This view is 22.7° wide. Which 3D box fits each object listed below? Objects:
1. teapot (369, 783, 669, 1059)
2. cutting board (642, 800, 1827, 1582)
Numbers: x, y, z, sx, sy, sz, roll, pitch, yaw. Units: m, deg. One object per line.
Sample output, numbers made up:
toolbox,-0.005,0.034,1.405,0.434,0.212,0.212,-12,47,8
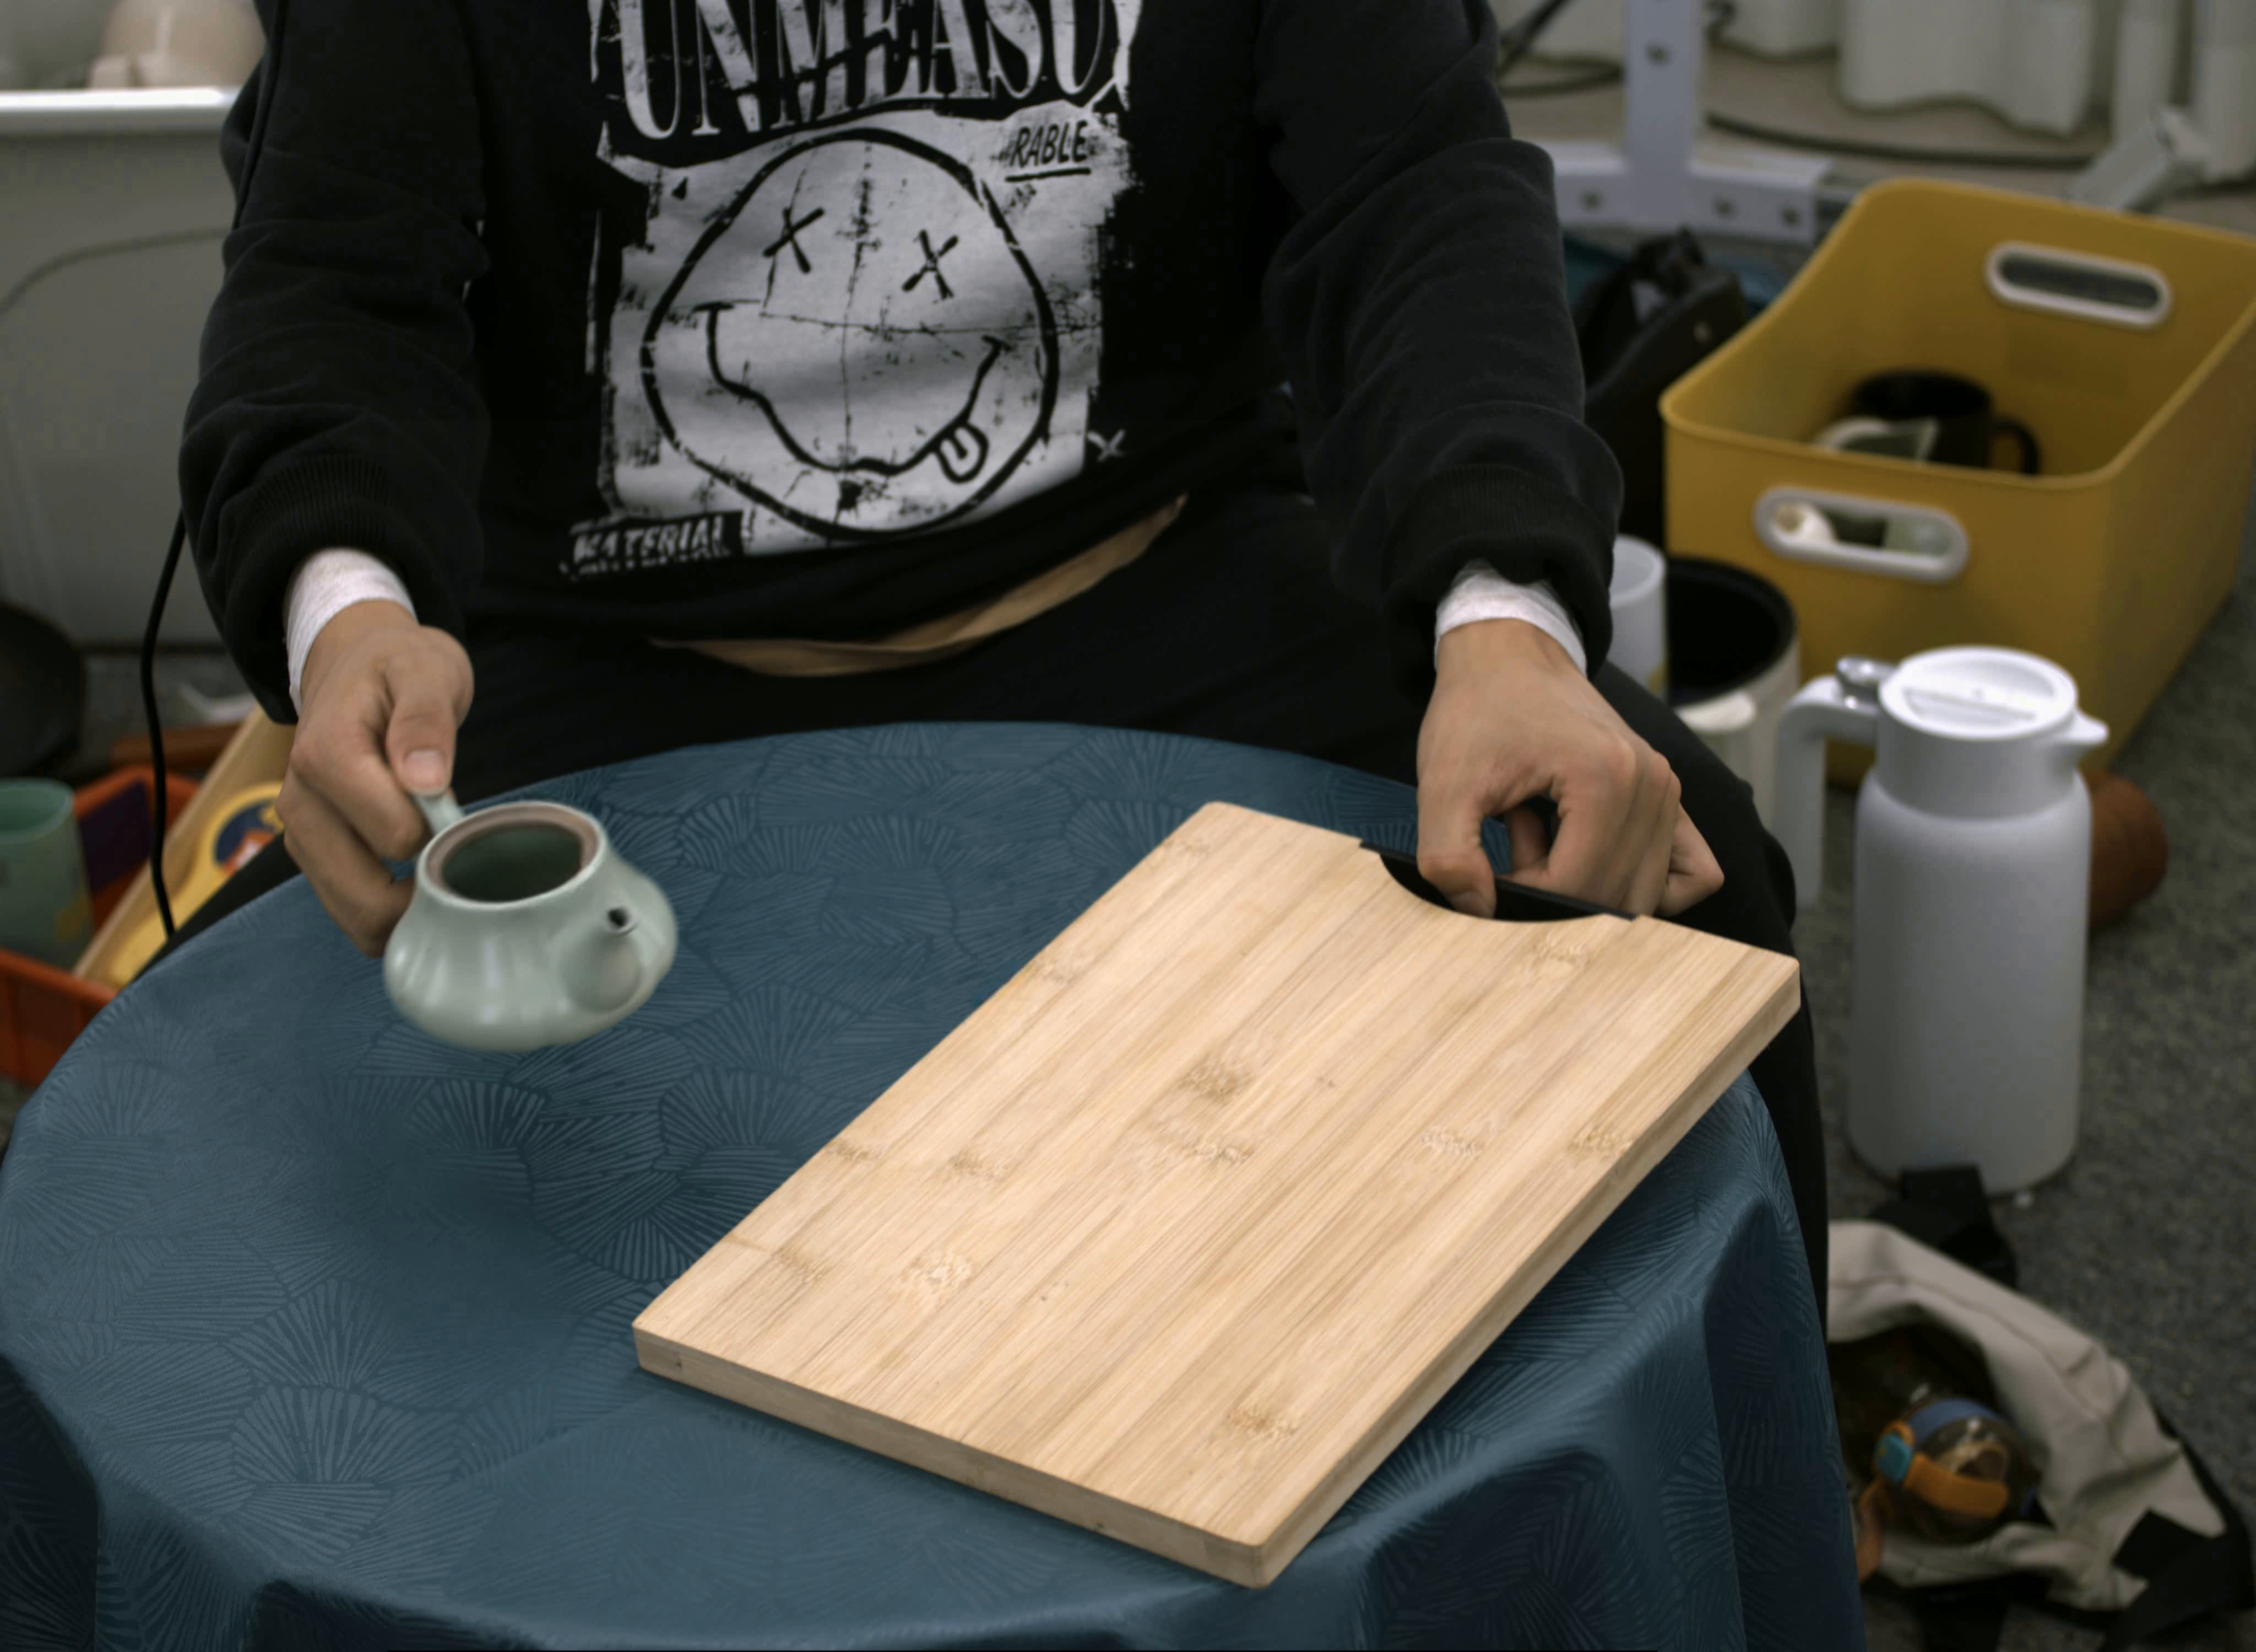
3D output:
teapot,-0.202,0.031,1.833,0.097,0.060,0.137,-31,40,-31
cutting board,0.038,0.108,1.832,0.249,0.023,0.354,14,37,30
